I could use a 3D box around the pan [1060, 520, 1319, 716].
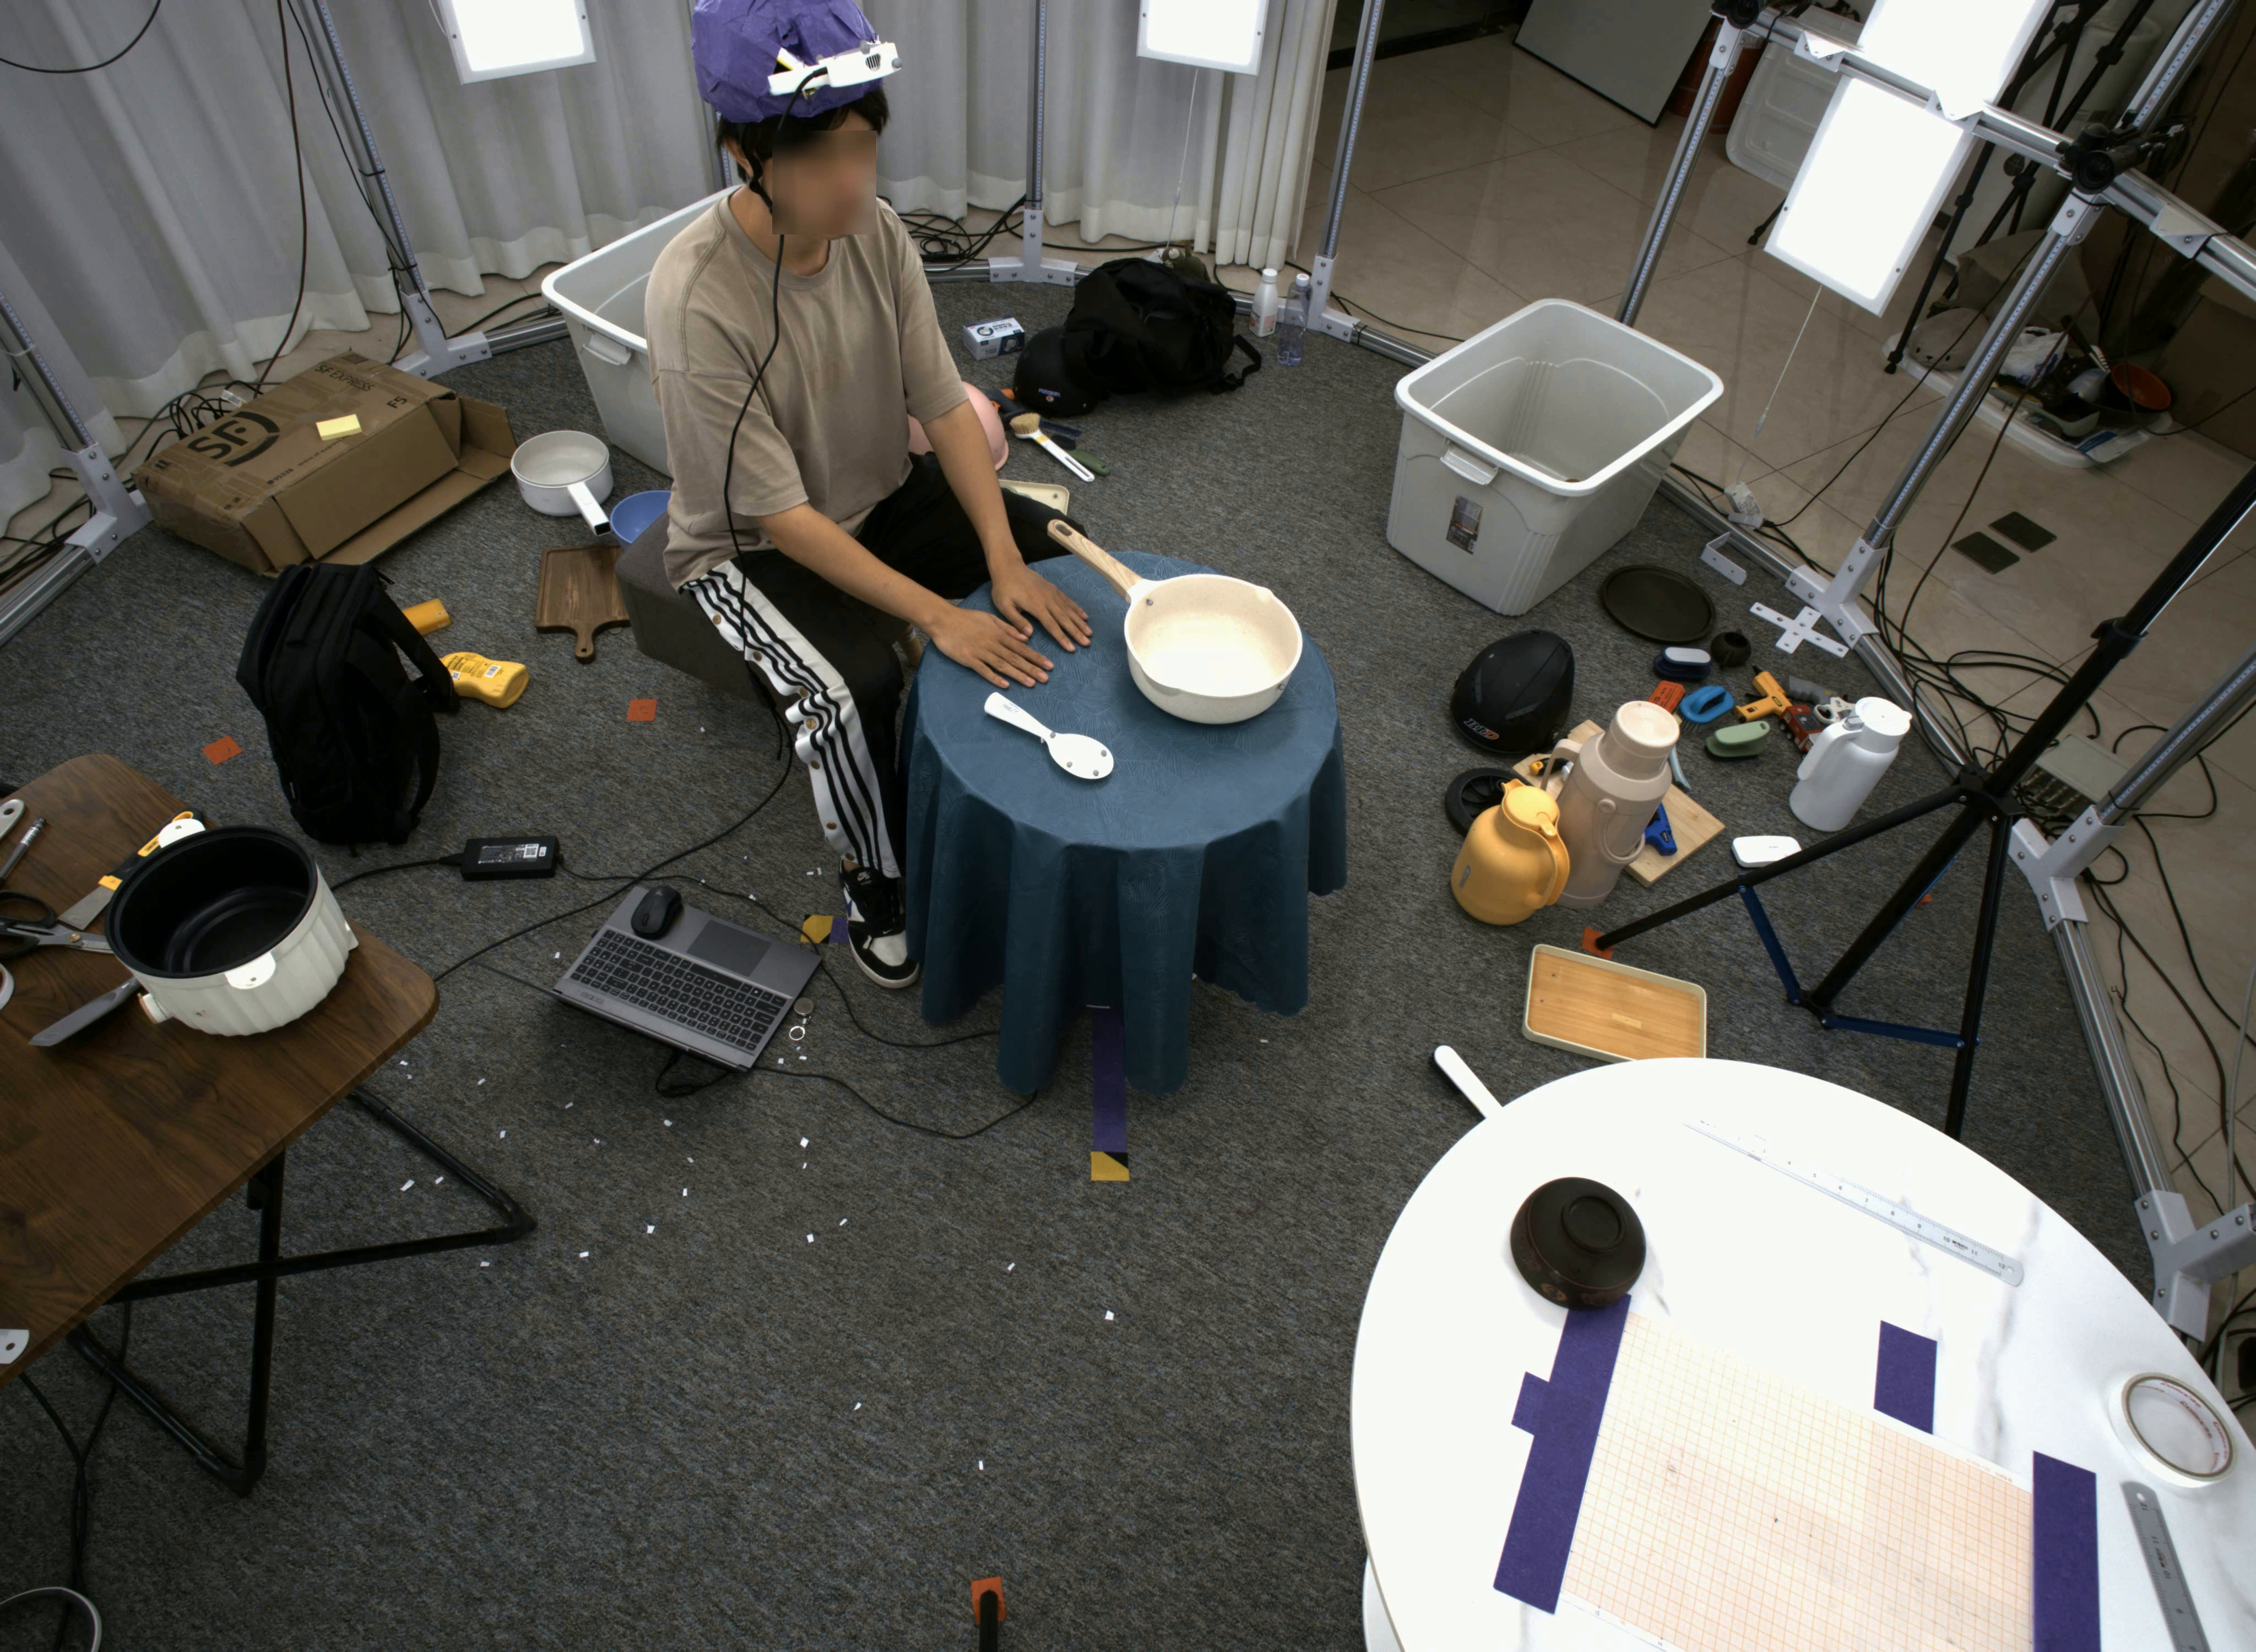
[{"bbox_3d":[0.072,-0.311,1.871,0.440,0.099,0.266,34,56,23],"label":"pan"}]

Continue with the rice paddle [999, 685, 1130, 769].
[{"bbox_3d":[-0.085,-0.134,1.740,0.207,0.029,0.070,30,54,20],"label":"rice paddle"}]
